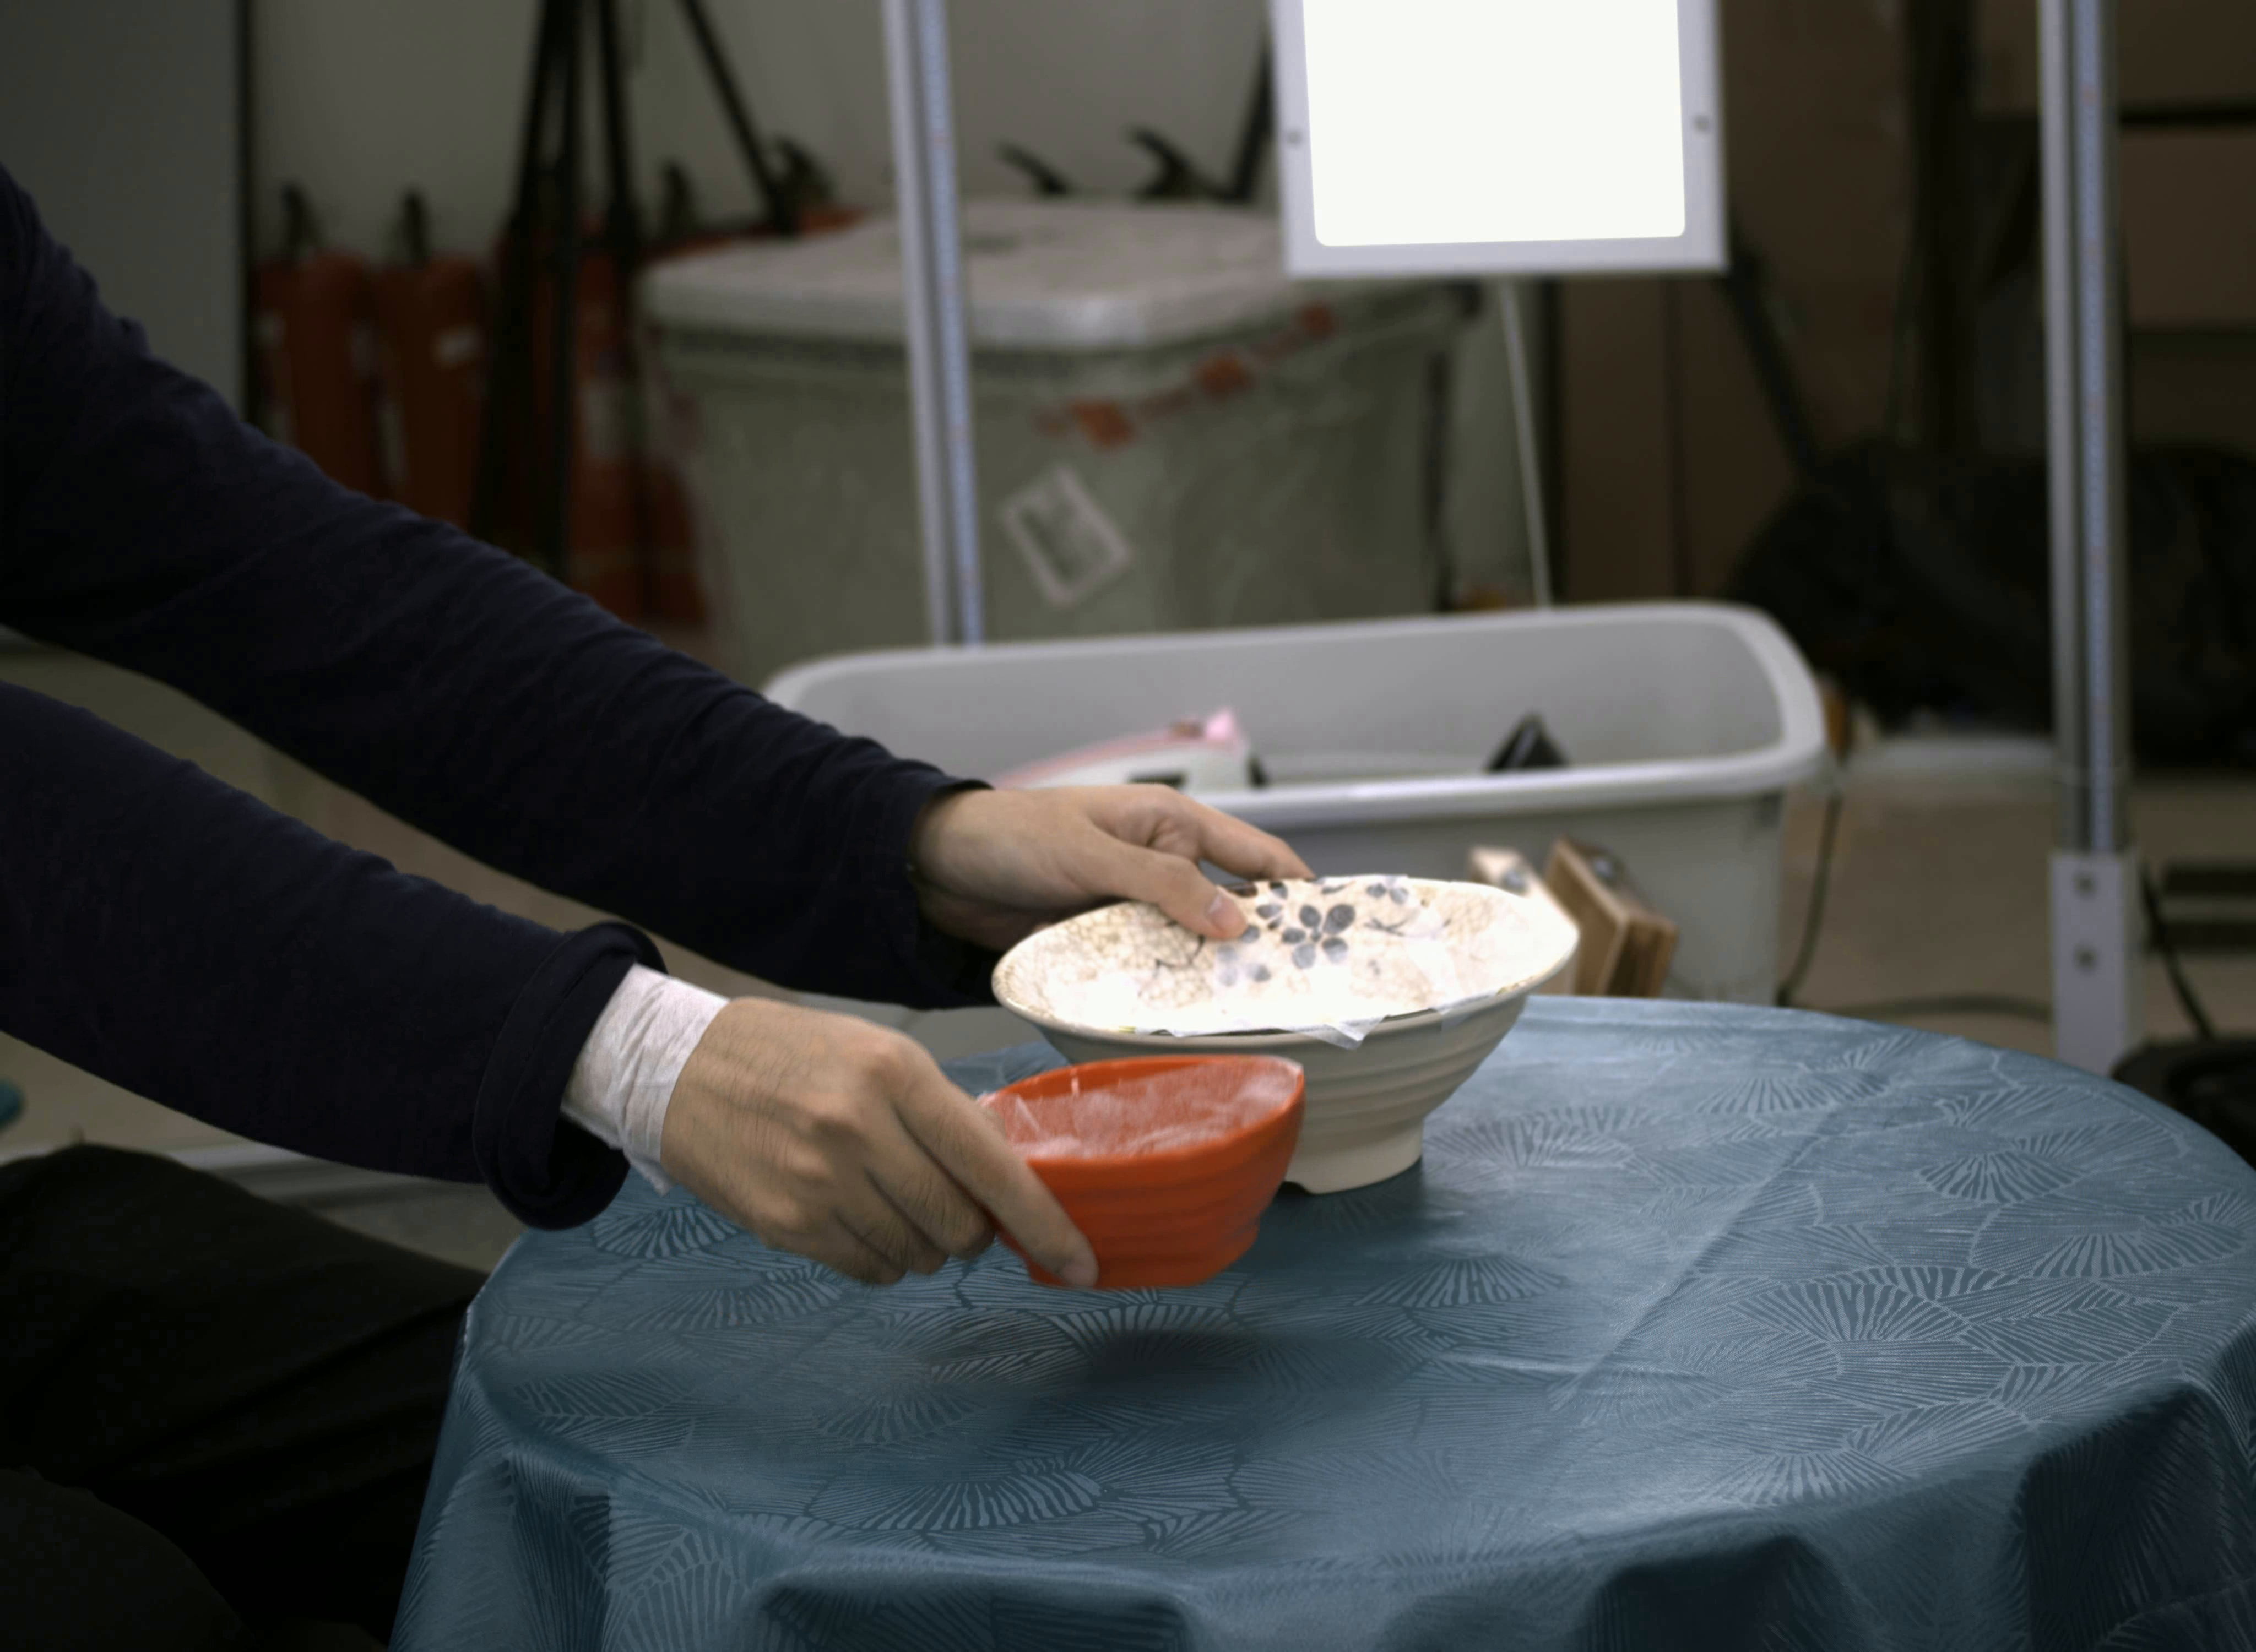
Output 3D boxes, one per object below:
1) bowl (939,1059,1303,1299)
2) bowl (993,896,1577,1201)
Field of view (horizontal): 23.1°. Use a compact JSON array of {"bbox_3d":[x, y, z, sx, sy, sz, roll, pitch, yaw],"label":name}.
[{"bbox_3d":[0.001,0.113,1.730,0.119,0.051,0.119,-8,15,1],"label":"bowl"},{"bbox_3d":[0.058,0.082,1.908,0.203,0.078,0.204,-6,10,0],"label":"bowl"}]
